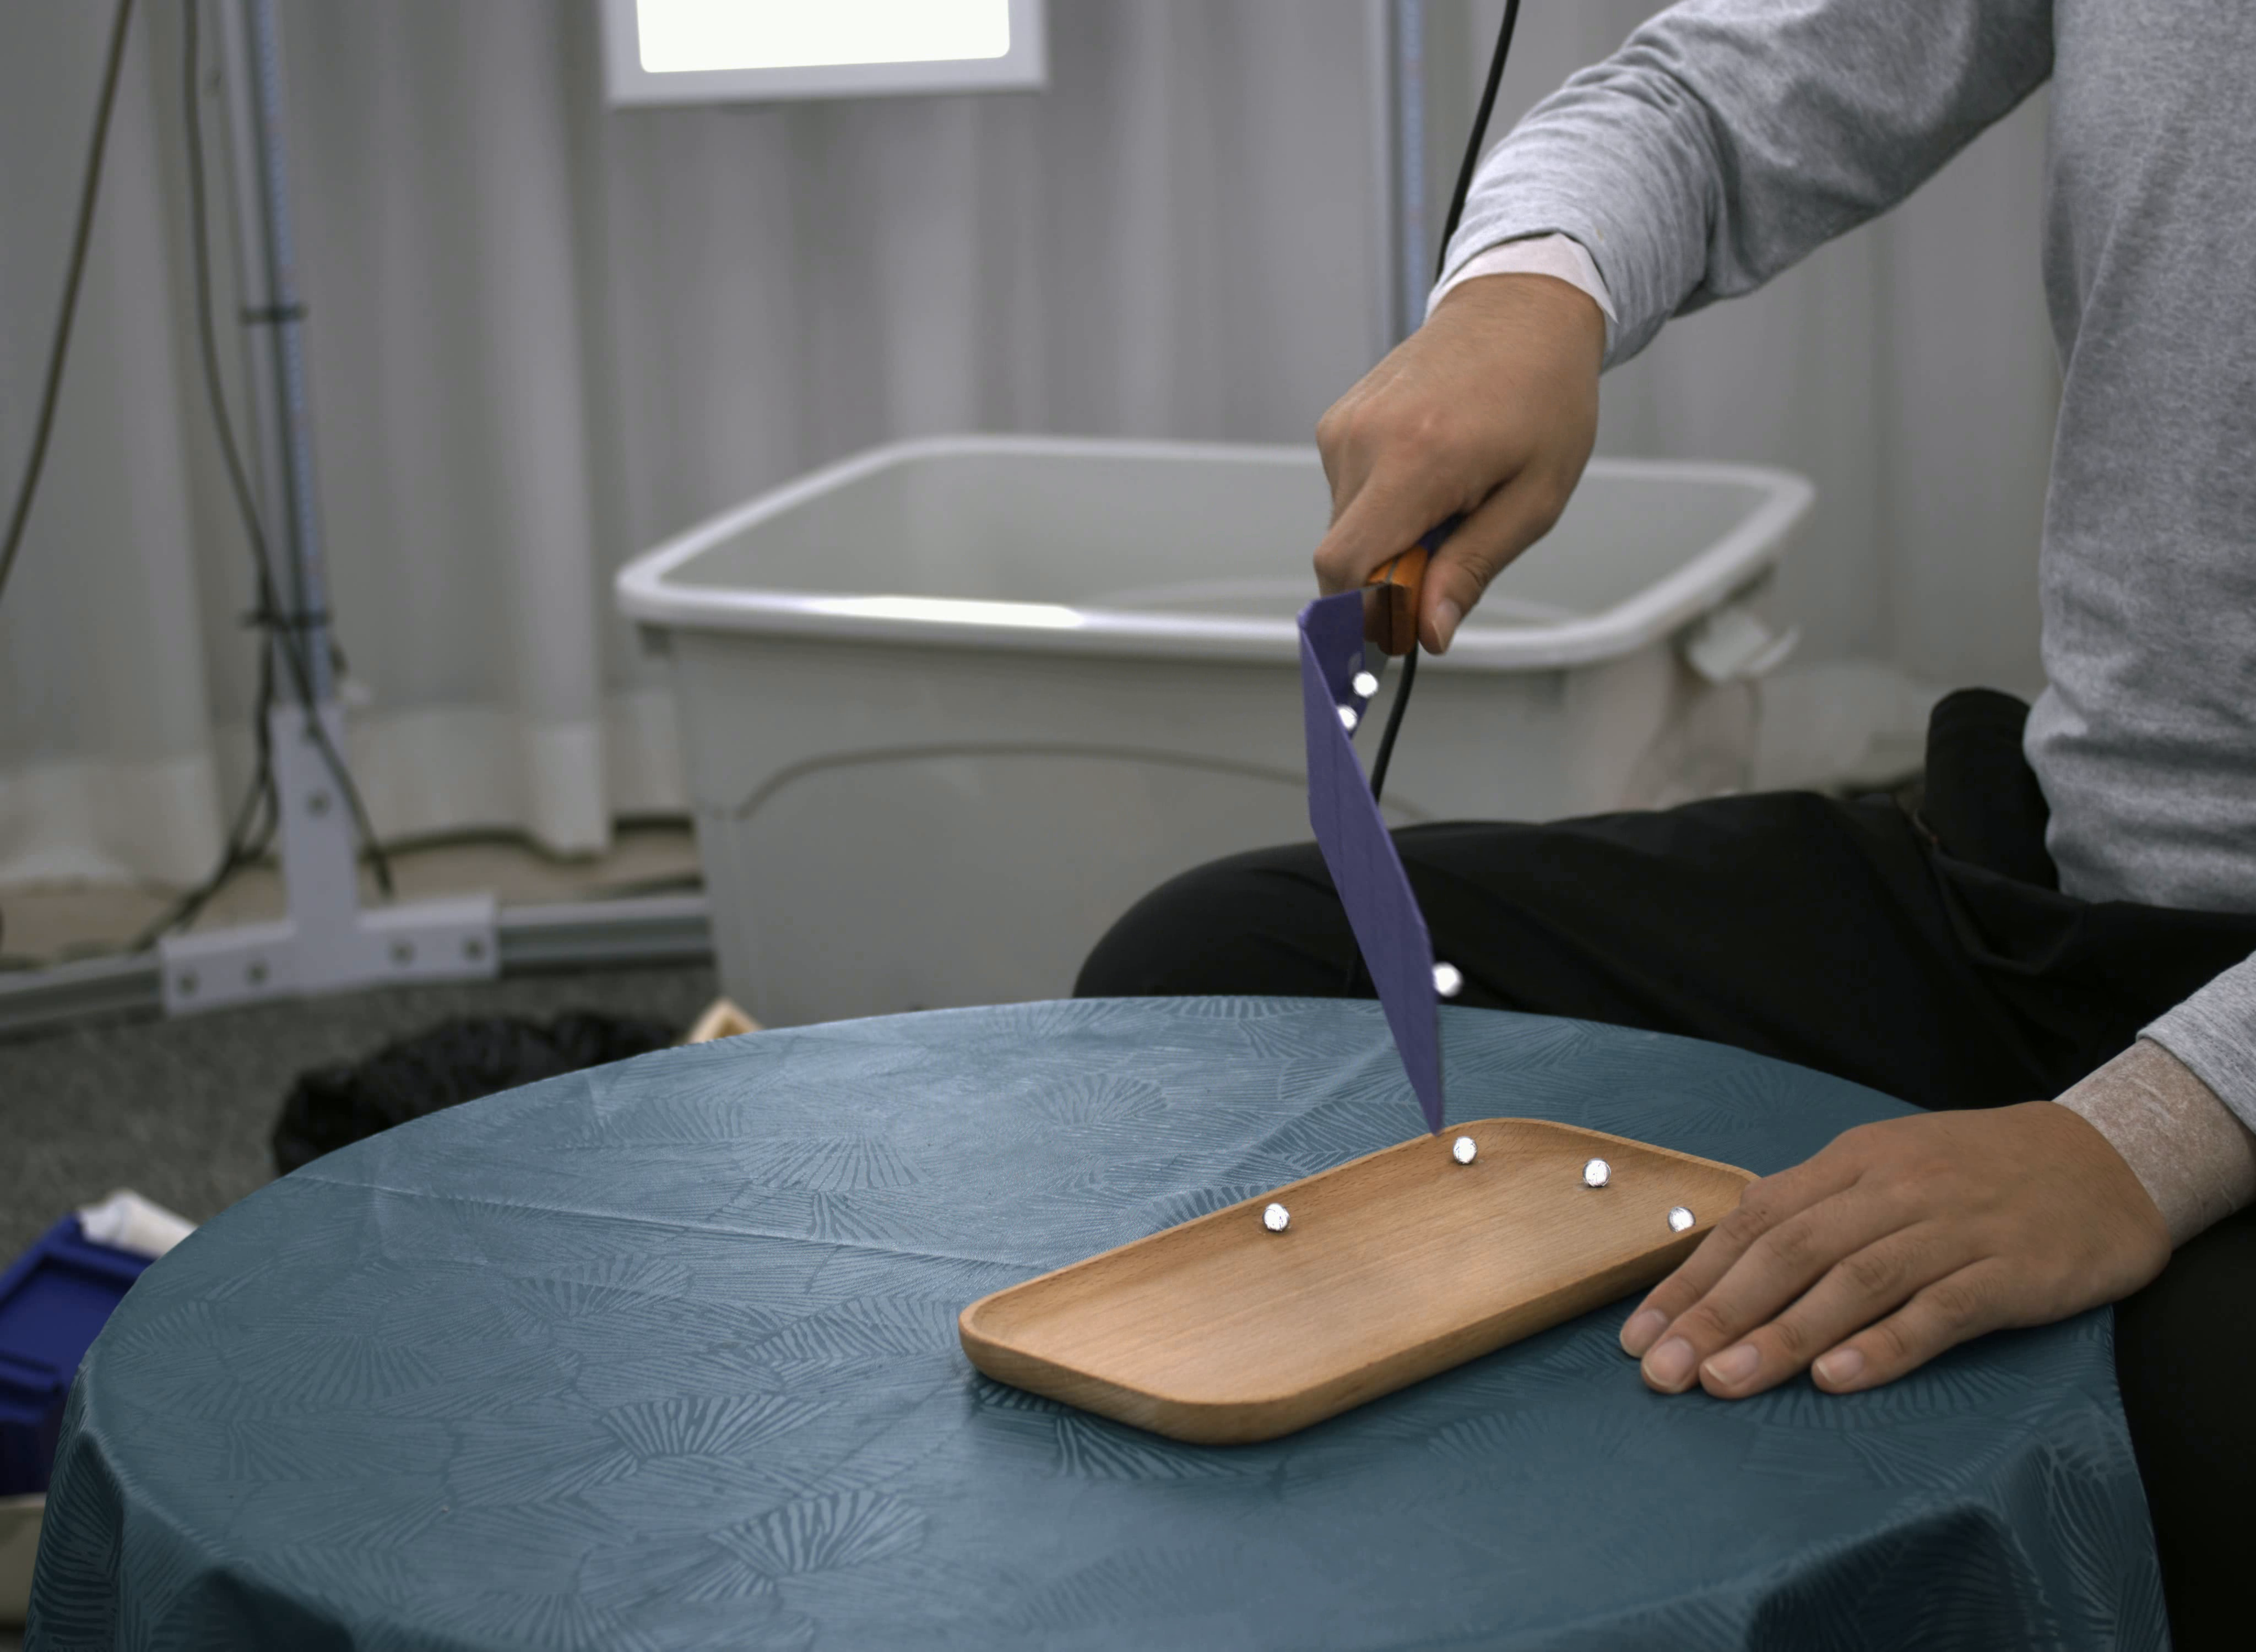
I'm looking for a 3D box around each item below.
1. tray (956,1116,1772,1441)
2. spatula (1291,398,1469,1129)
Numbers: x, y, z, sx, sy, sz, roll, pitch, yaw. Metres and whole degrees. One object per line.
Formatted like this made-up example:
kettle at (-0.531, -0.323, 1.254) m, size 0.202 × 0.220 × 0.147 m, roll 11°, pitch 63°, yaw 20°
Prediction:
tray at (0.073, 0.131, 1.608) m, size 0.250 × 0.023 × 0.131 m, roll -17°, pitch 17°, yaw -41°
spatula at (0.094, -0.034, 1.699) m, size 0.087 × 0.074 × 0.363 m, roll 7°, pitch 33°, yaw 15°
